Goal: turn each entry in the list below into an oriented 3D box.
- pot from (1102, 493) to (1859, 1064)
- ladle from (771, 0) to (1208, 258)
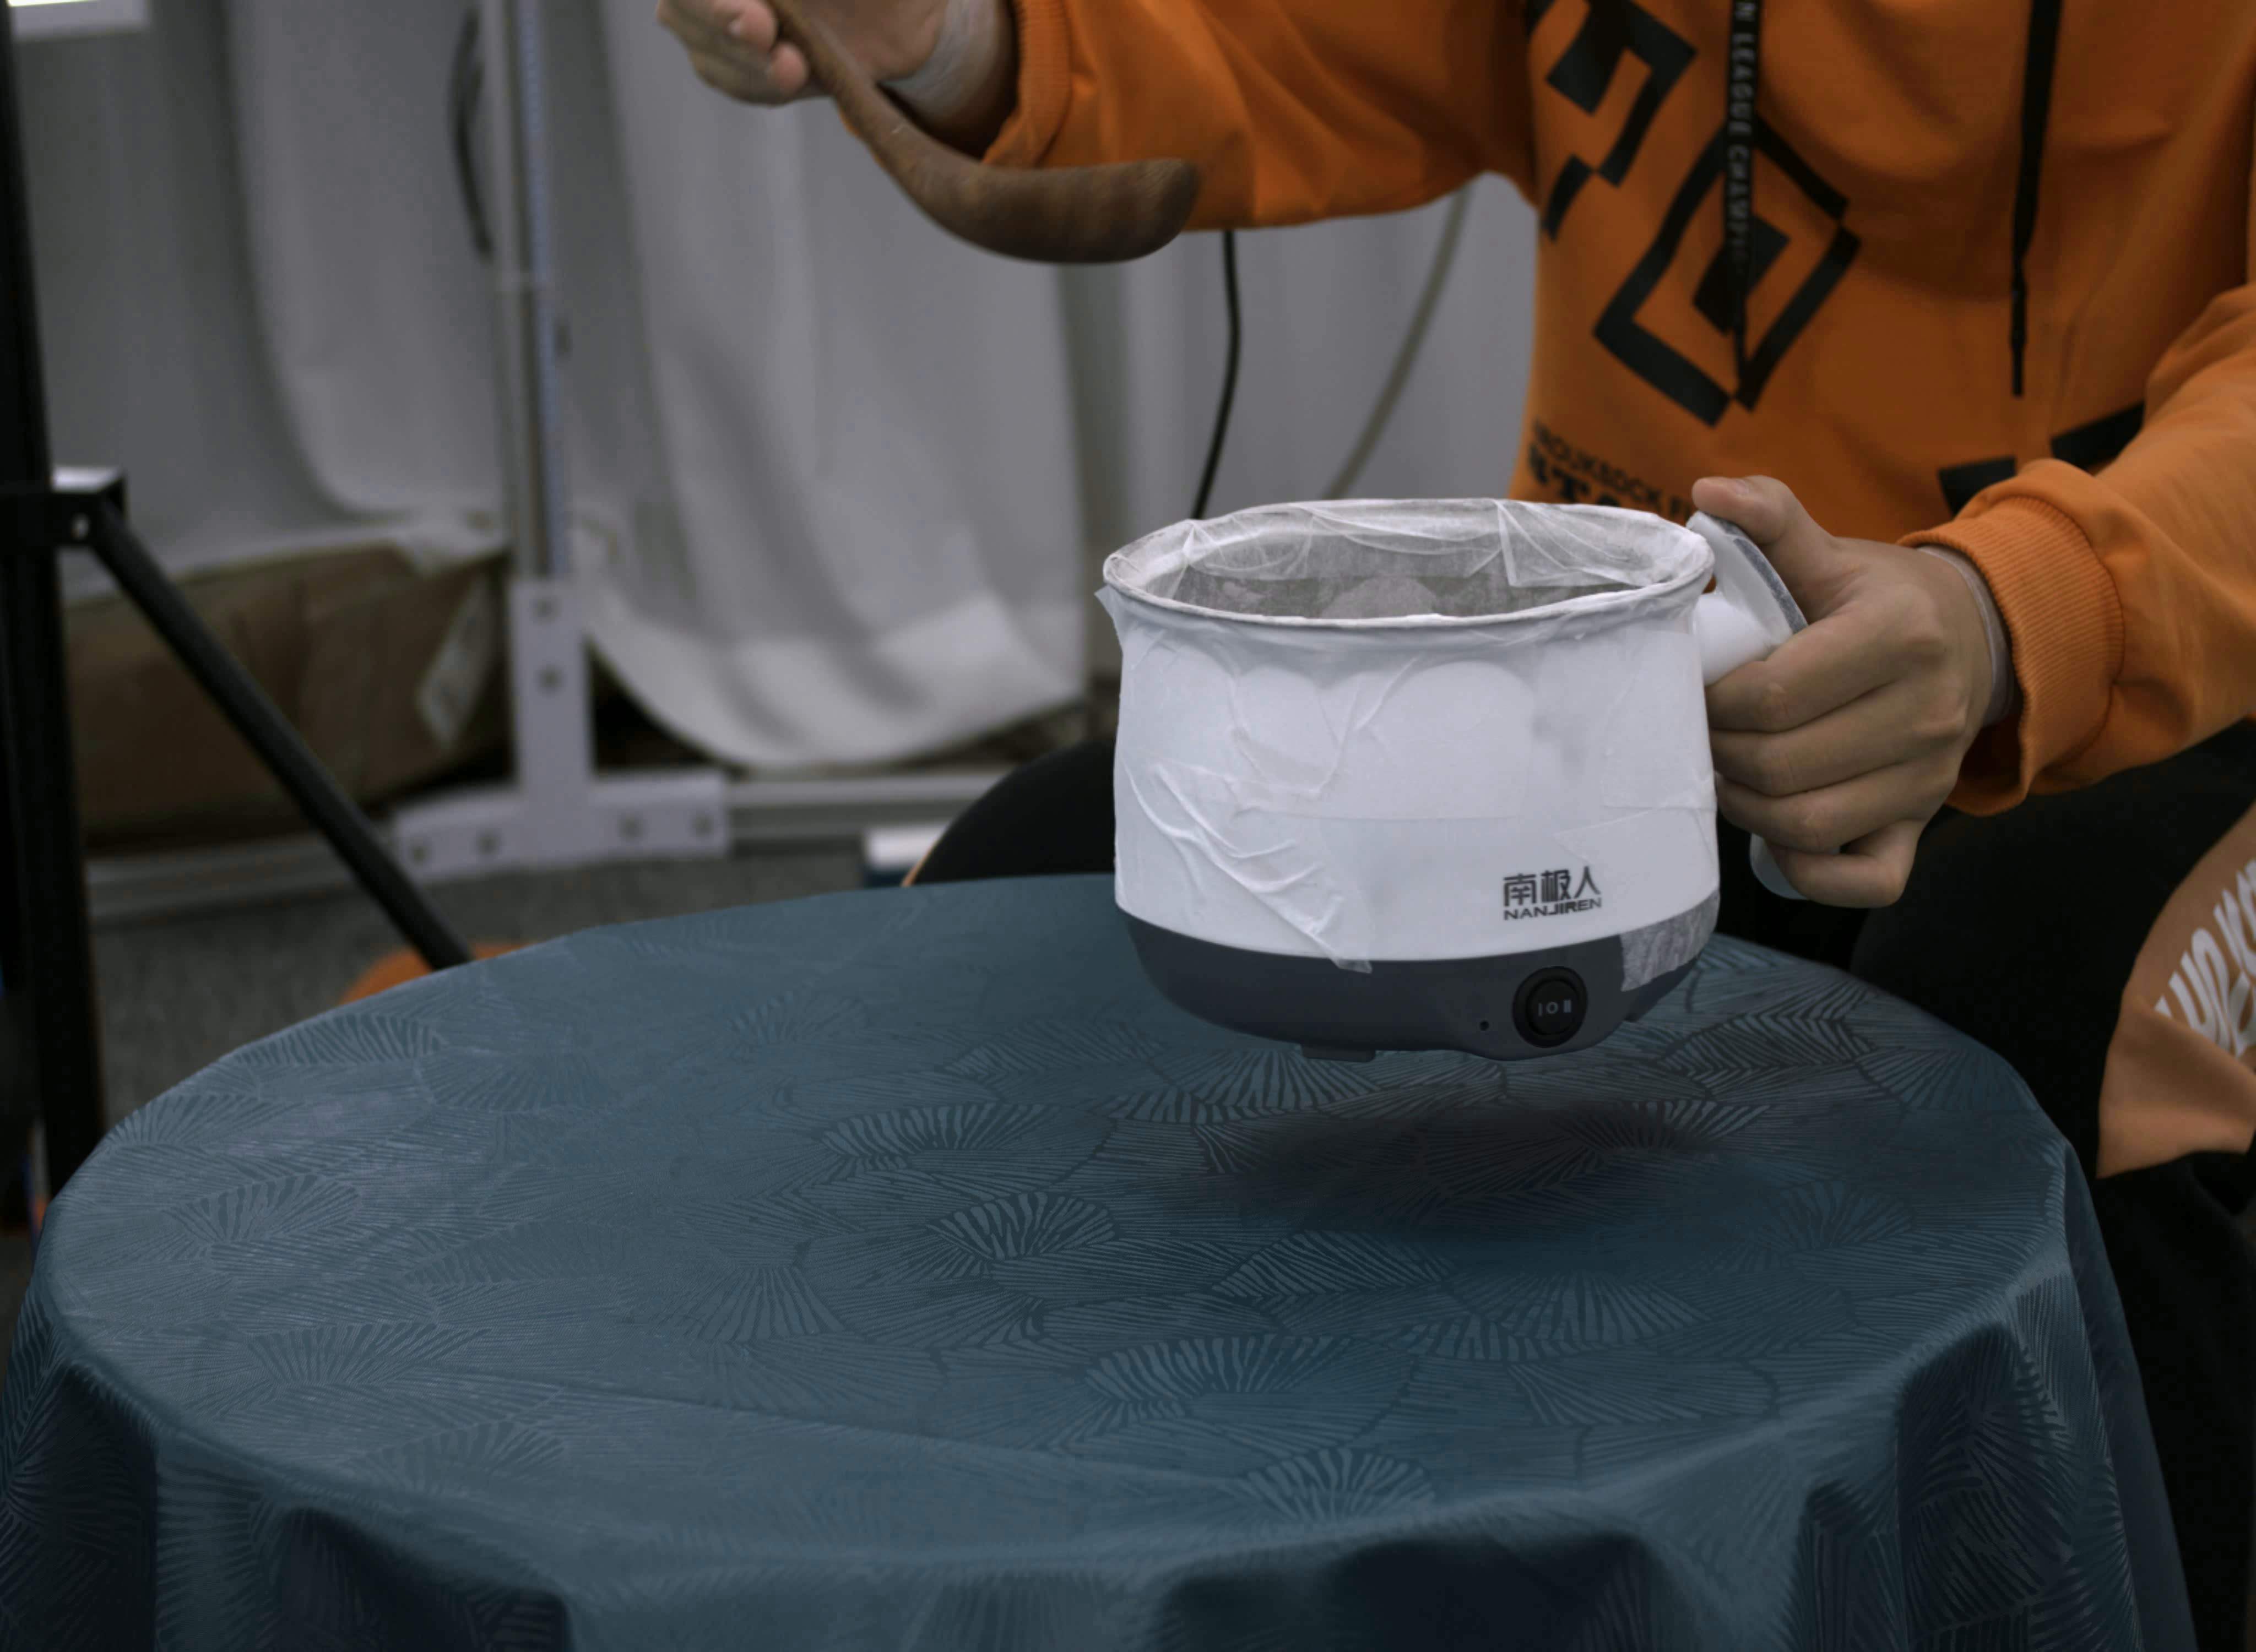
[{"bbox_3d":[0.108,-0.020,1.556,0.229,0.136,0.182,-8,16,-22],"label":"pot"},{"bbox_3d":[-0.085,-0.249,1.595,0.264,0.065,0.075,42,15,18],"label":"ladle"}]
